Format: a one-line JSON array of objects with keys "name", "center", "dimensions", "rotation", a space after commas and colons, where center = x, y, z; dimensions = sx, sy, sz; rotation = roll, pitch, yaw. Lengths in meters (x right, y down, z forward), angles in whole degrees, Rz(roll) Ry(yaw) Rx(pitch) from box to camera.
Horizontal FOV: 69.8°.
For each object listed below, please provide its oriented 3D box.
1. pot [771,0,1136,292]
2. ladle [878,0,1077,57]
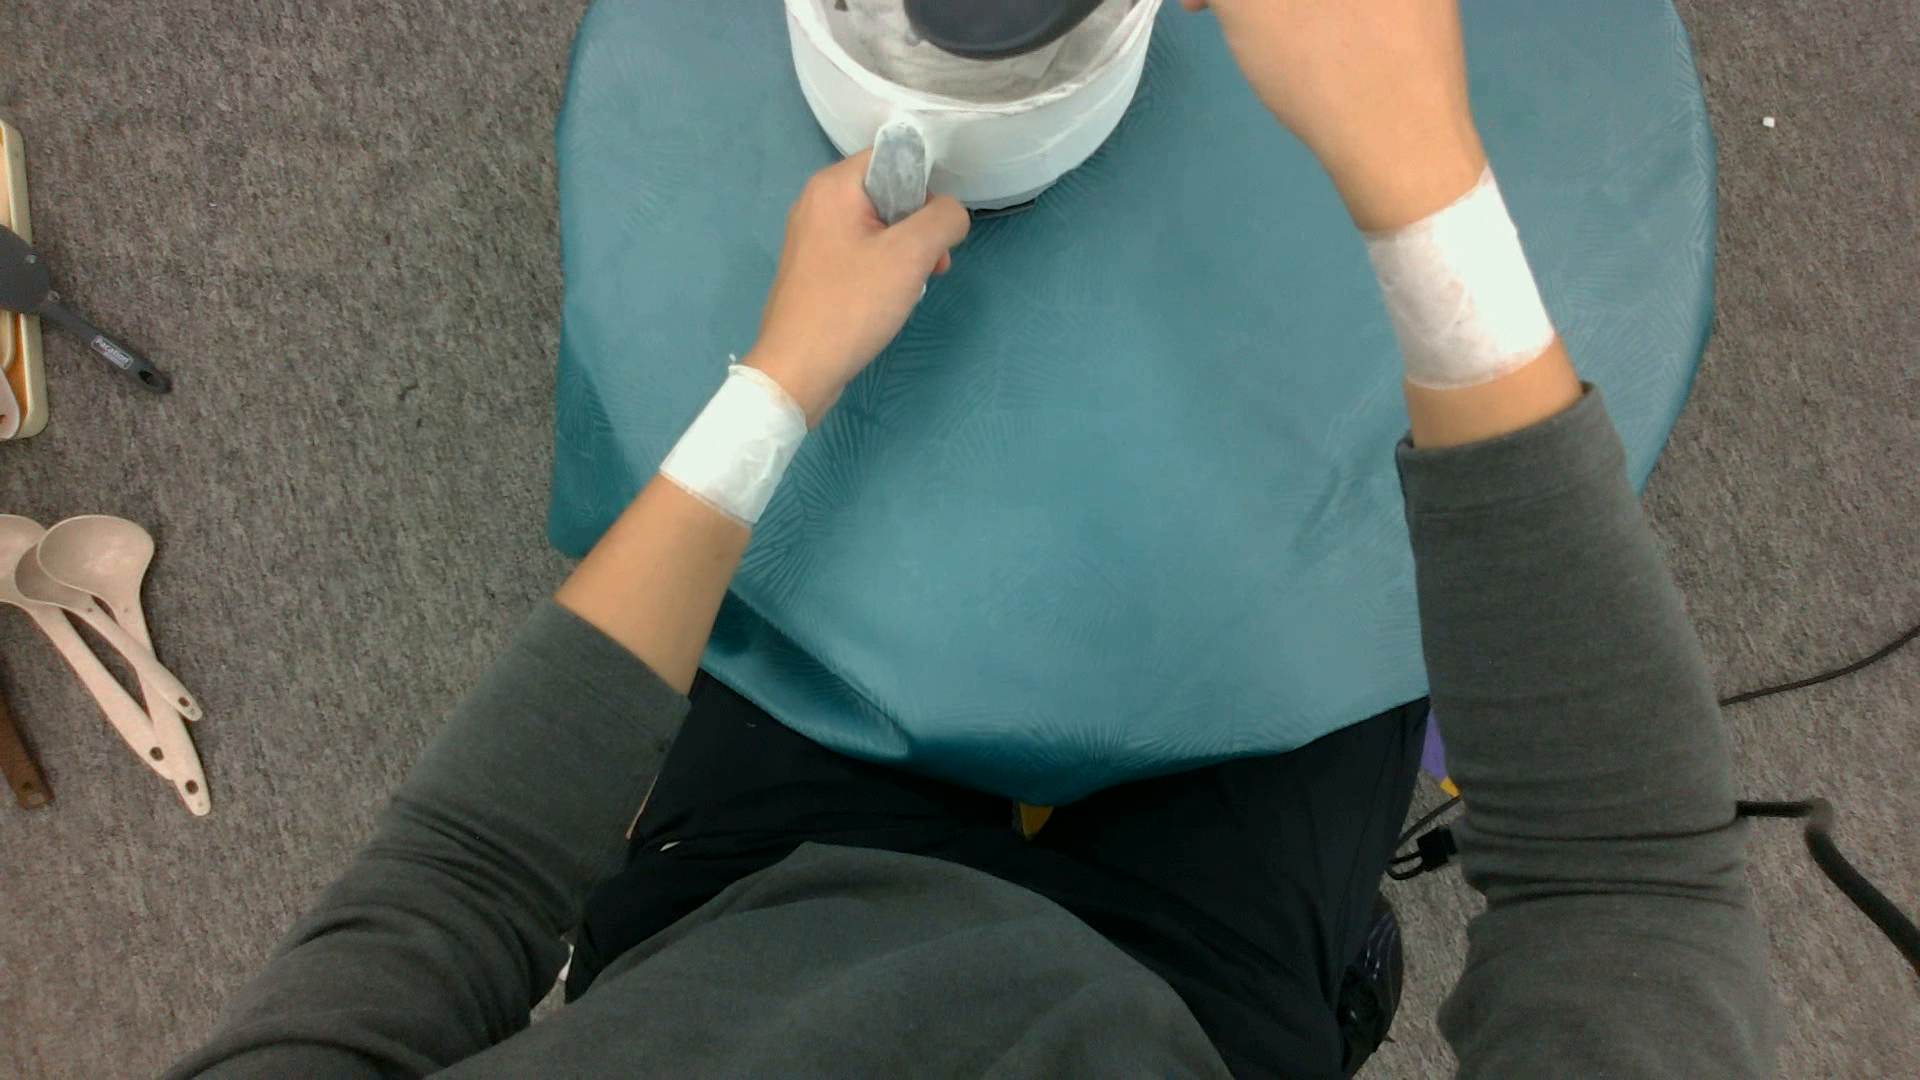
[{"name": "pot", "center": [-0.010, -0.237, 0.647], "dimensions": [0.179, 0.136, 0.234], "rotation": [16, 83, 1]}, {"name": "ladle", "center": [0.044, -0.230, 0.483], "dimensions": [0.086, 0.314, 0.064], "rotation": [-47, 106, -6]}]
